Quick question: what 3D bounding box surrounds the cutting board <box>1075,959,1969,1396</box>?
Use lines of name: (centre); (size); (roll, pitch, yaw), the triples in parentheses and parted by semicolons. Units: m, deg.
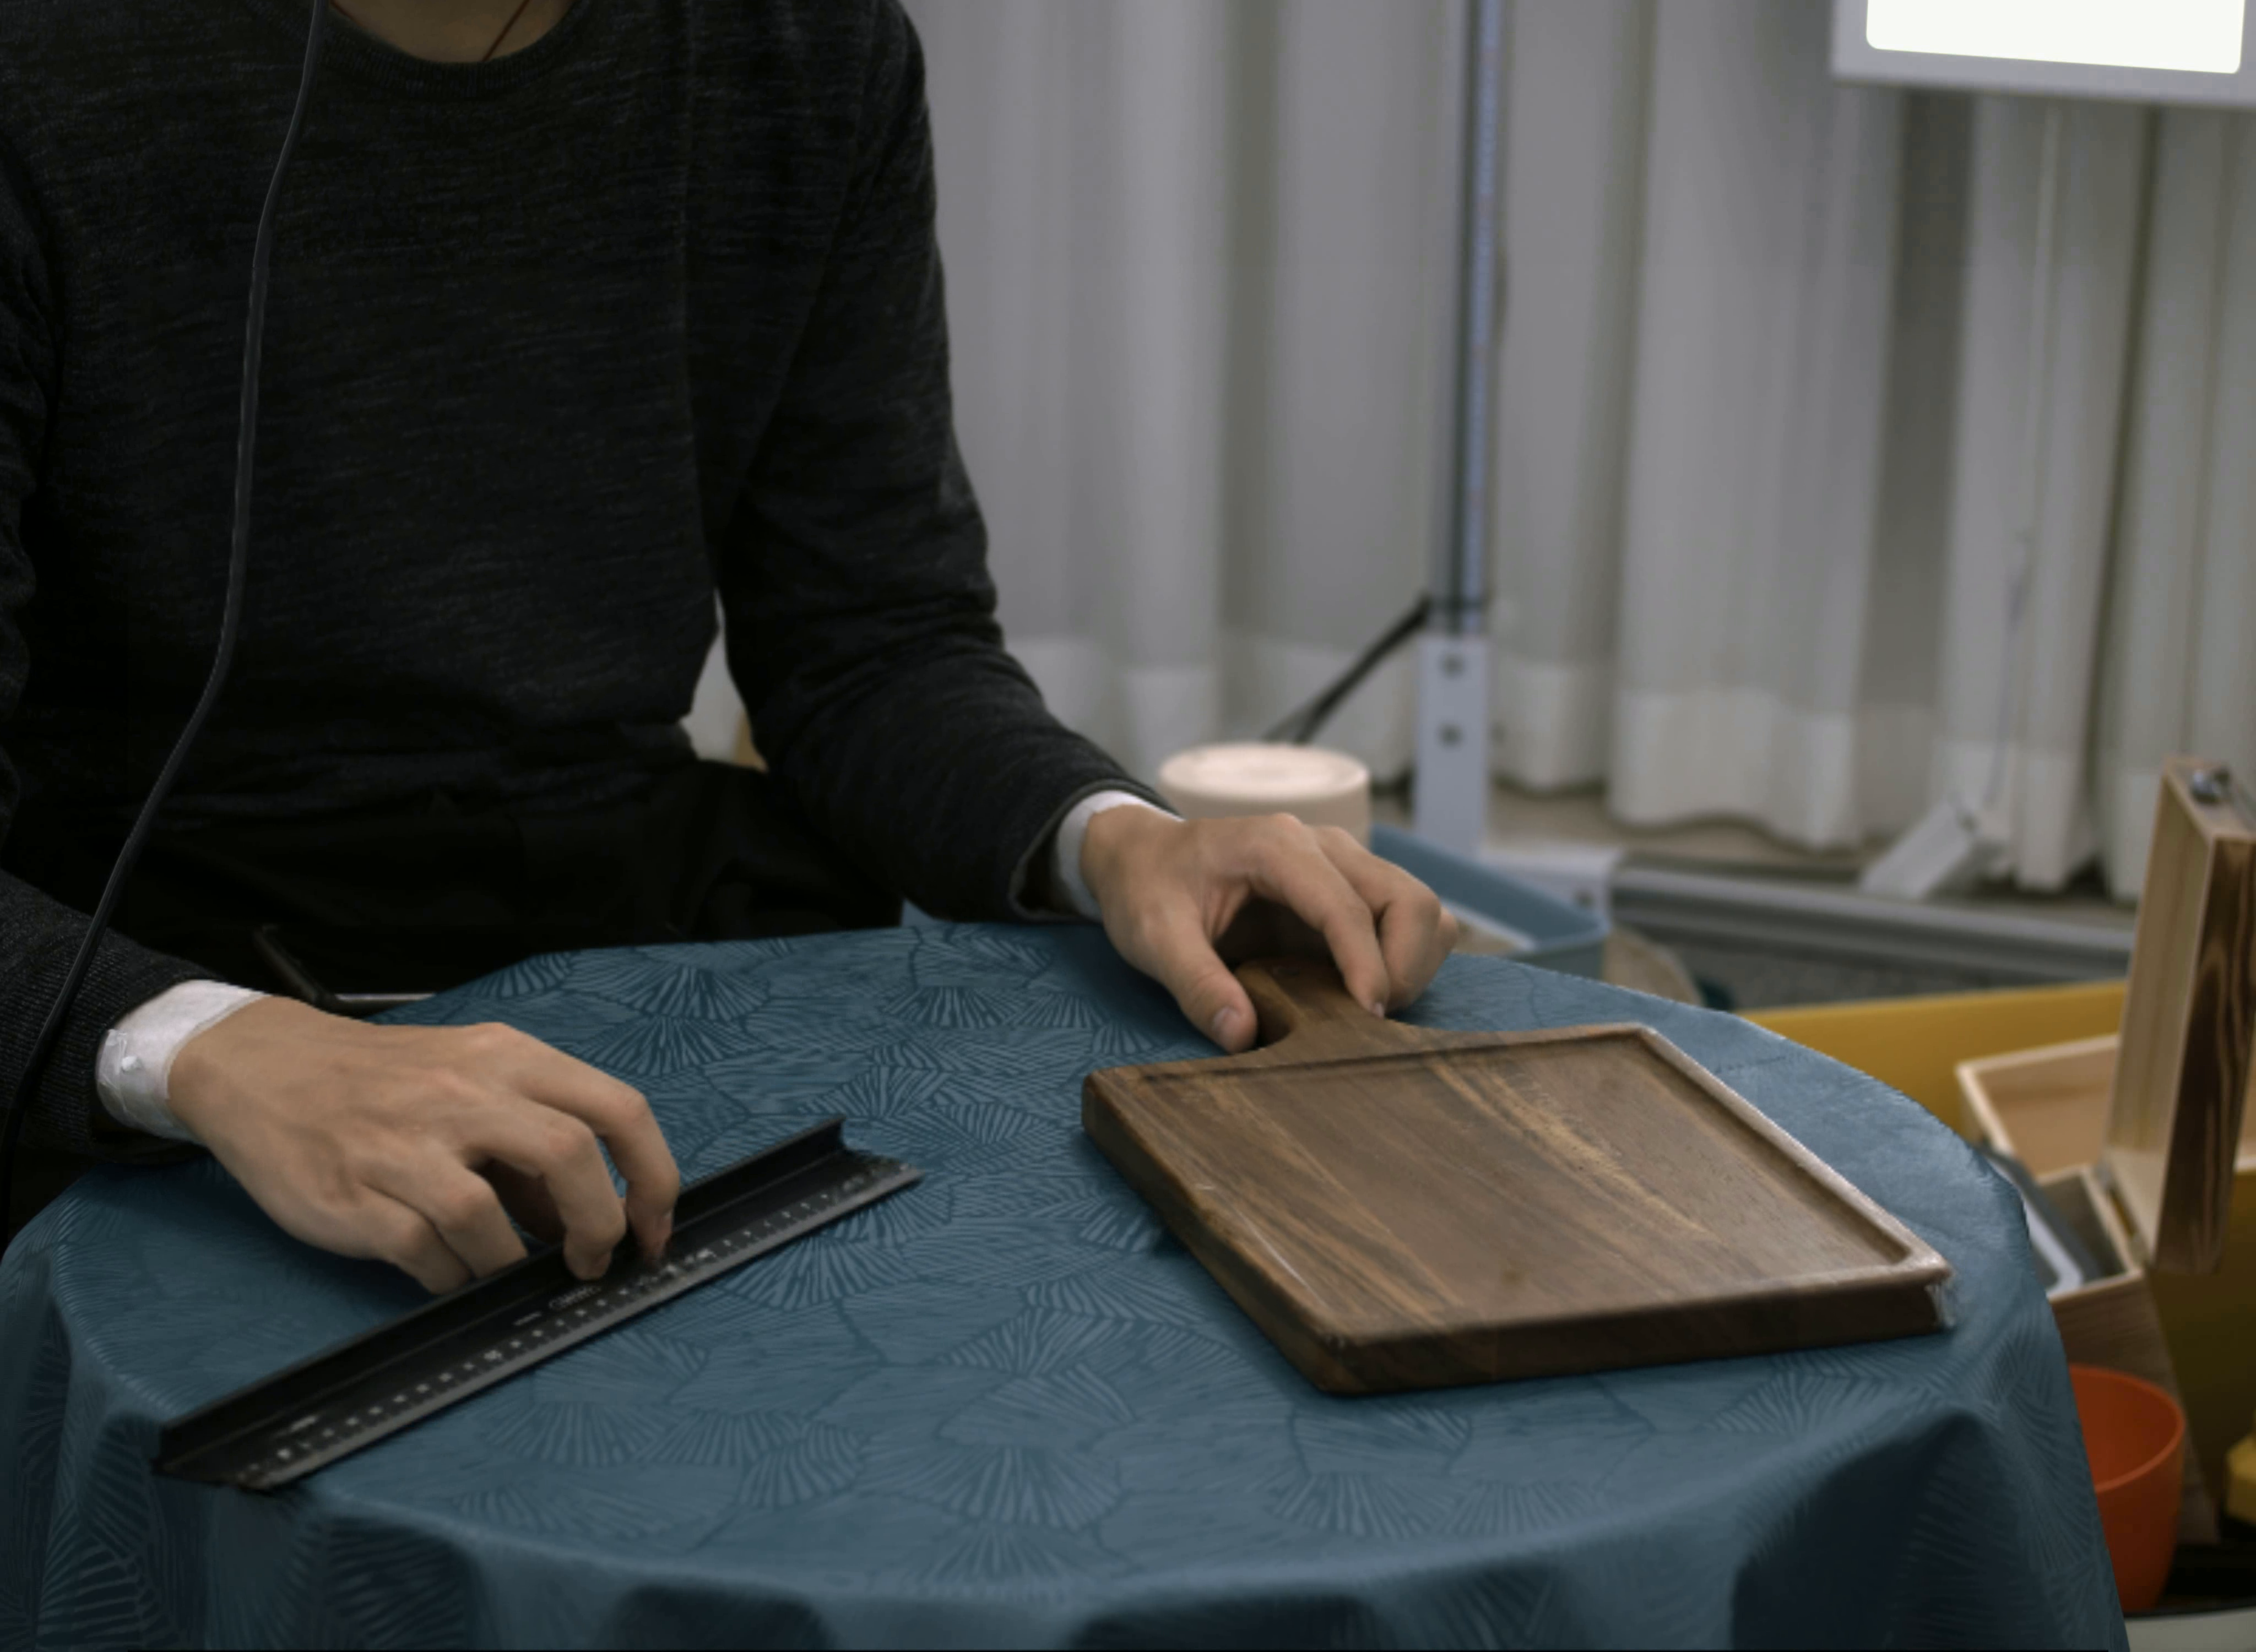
cutting board: (0.098, 0.098, 1.636); (0.201, 0.023, 0.348); (-4, 16, -17)

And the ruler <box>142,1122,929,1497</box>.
ruler: (-0.161, 0.134, 1.507); (0.039, 0.017, 0.314); (11, 19, 32)
